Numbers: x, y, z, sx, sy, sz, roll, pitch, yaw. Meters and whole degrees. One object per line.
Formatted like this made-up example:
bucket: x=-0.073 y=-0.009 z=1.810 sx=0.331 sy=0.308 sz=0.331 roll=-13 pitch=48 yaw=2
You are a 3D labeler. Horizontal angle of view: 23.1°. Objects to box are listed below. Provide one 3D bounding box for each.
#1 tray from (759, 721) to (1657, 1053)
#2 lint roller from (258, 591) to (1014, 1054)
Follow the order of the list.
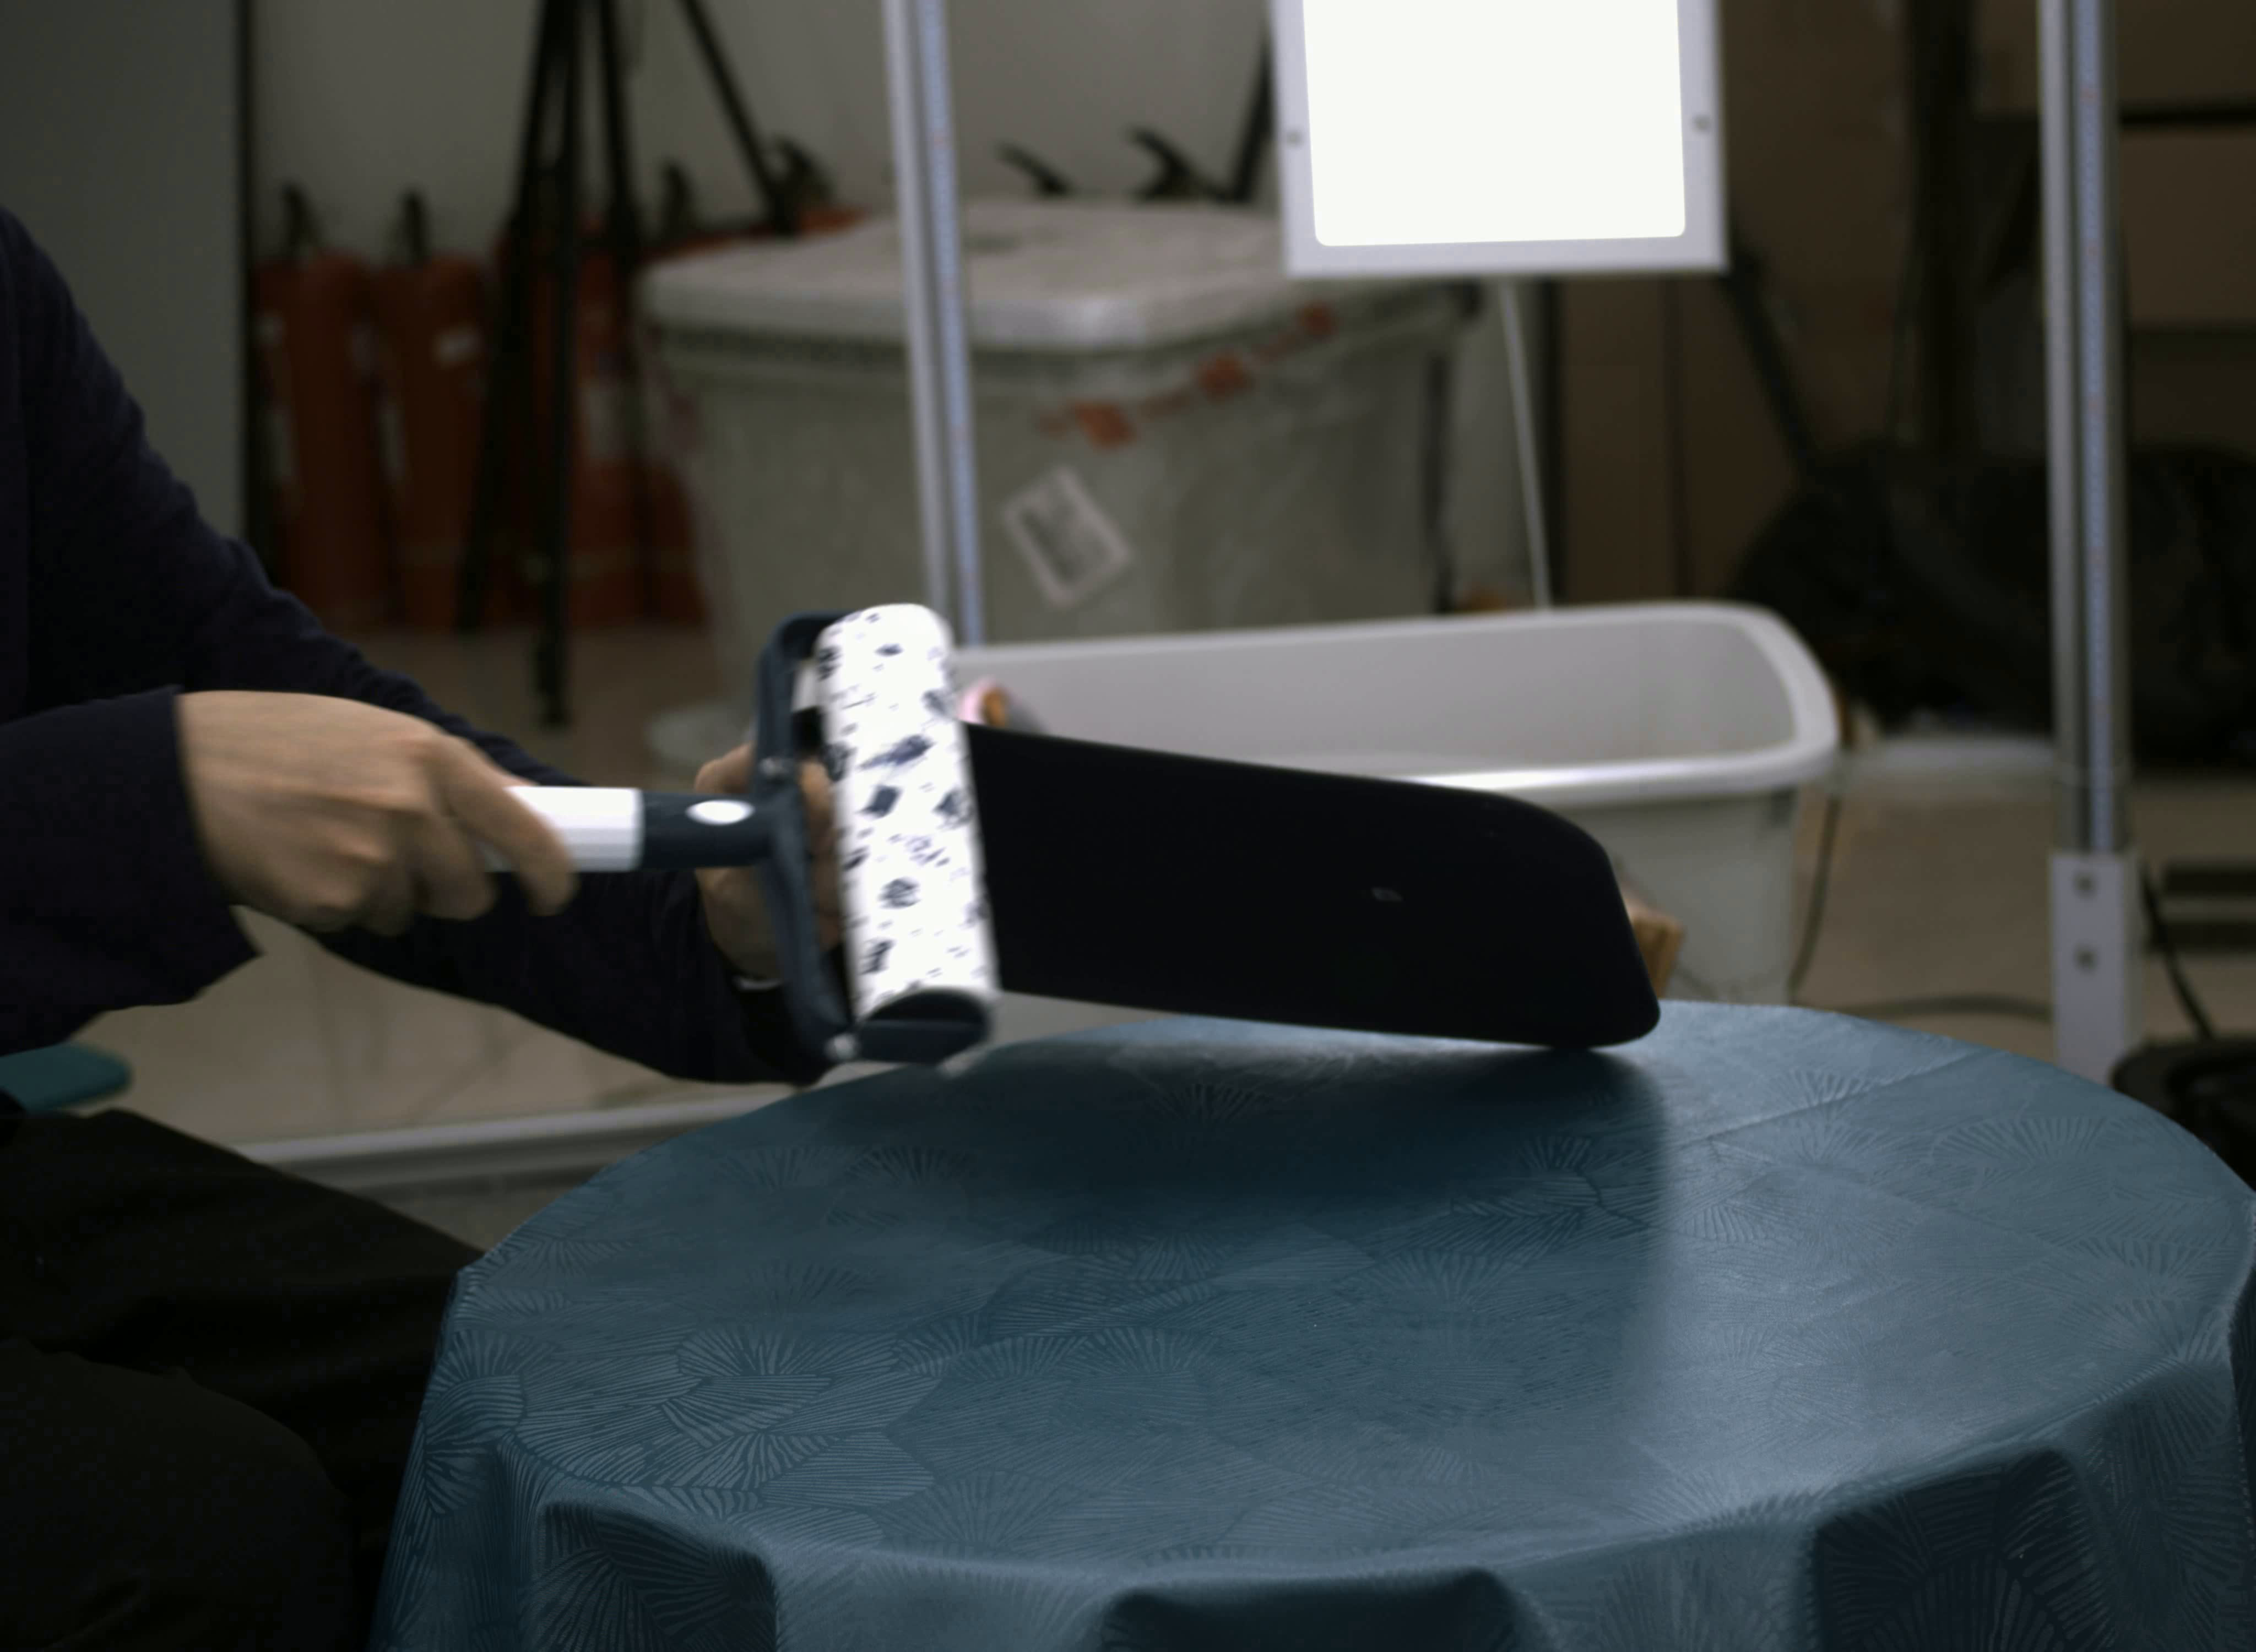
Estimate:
tray: x=0.024 y=0.019 z=1.979 sx=0.330 sy=0.010 sz=0.209 roll=7 pitch=-26 yaw=21
lint roller: x=-0.167 y=0.000 z=1.847 sx=0.244 sy=0.051 sz=0.176 roll=-1 pitch=55 yaw=-10
